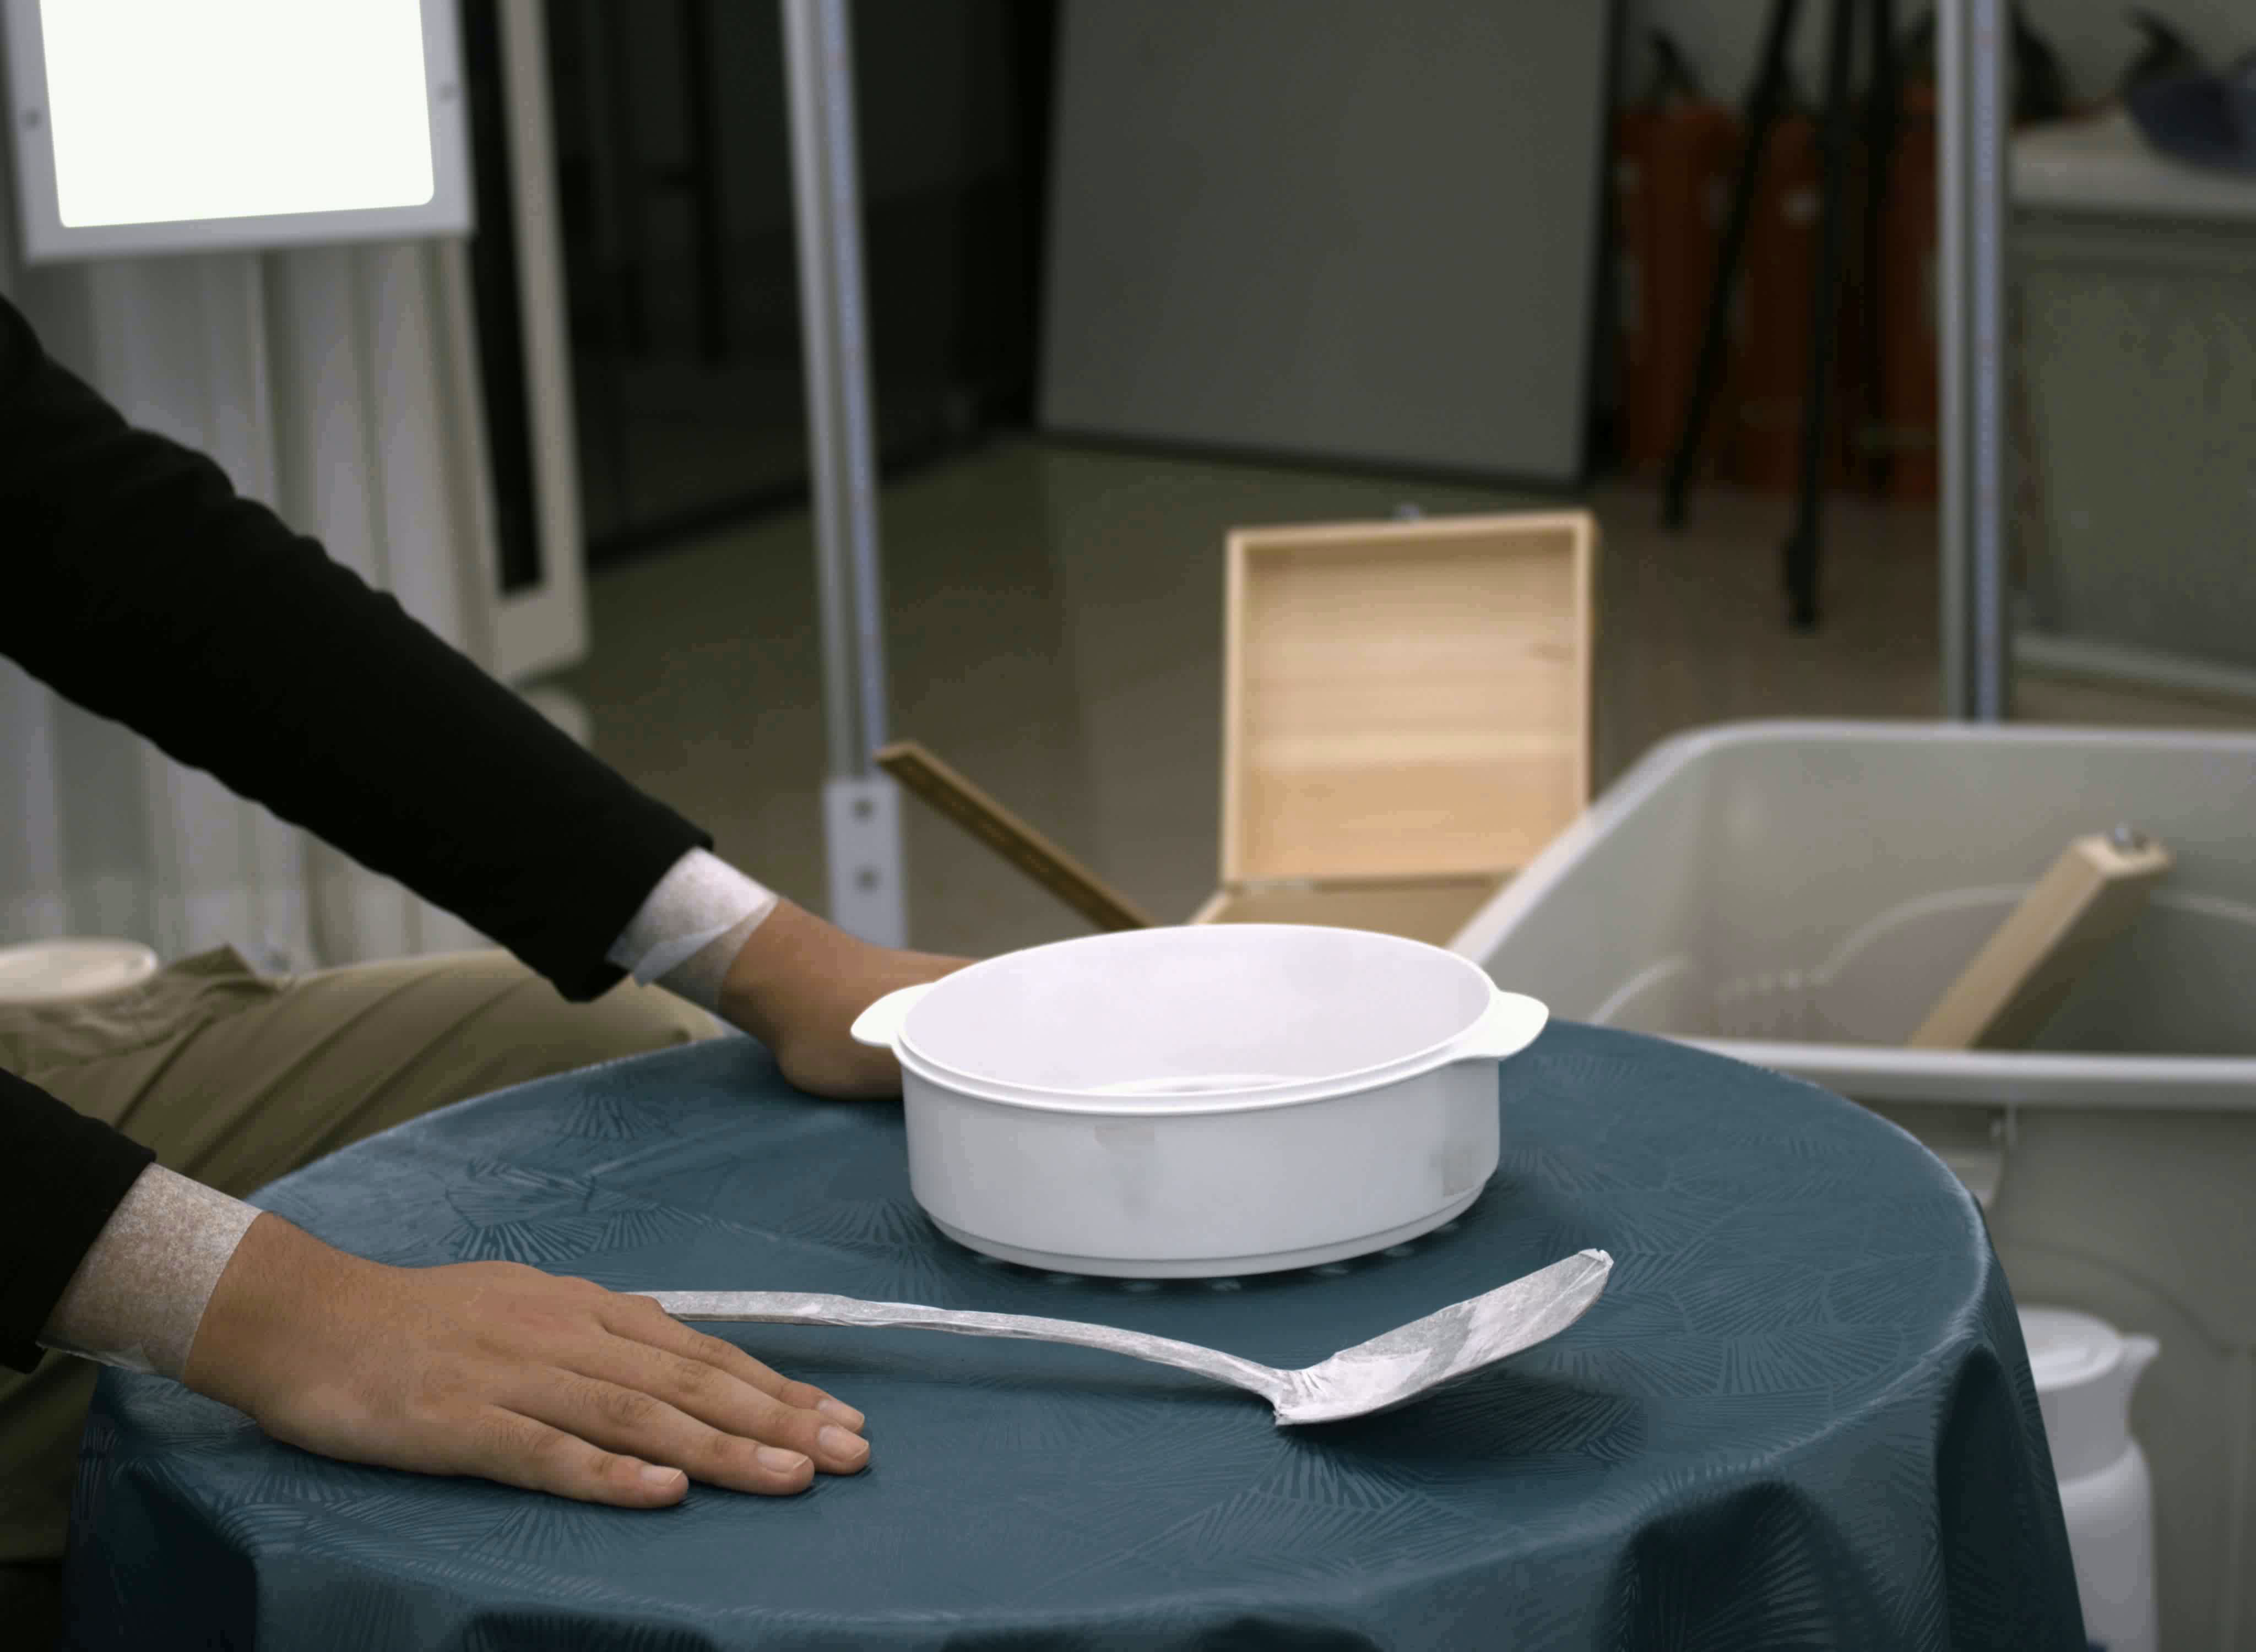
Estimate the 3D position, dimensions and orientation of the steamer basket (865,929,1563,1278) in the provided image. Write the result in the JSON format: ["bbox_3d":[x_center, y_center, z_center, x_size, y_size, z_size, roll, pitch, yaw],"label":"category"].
[{"bbox_3d":[0.029,0.089,1.746,0.230,0.070,0.200,-1,13,18],"label":"steamer basket"}]

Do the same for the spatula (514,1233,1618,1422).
[{"bbox_3d":[-0.031,0.145,1.602,0.365,0.045,0.097,2,17,24],"label":"spatula"}]
